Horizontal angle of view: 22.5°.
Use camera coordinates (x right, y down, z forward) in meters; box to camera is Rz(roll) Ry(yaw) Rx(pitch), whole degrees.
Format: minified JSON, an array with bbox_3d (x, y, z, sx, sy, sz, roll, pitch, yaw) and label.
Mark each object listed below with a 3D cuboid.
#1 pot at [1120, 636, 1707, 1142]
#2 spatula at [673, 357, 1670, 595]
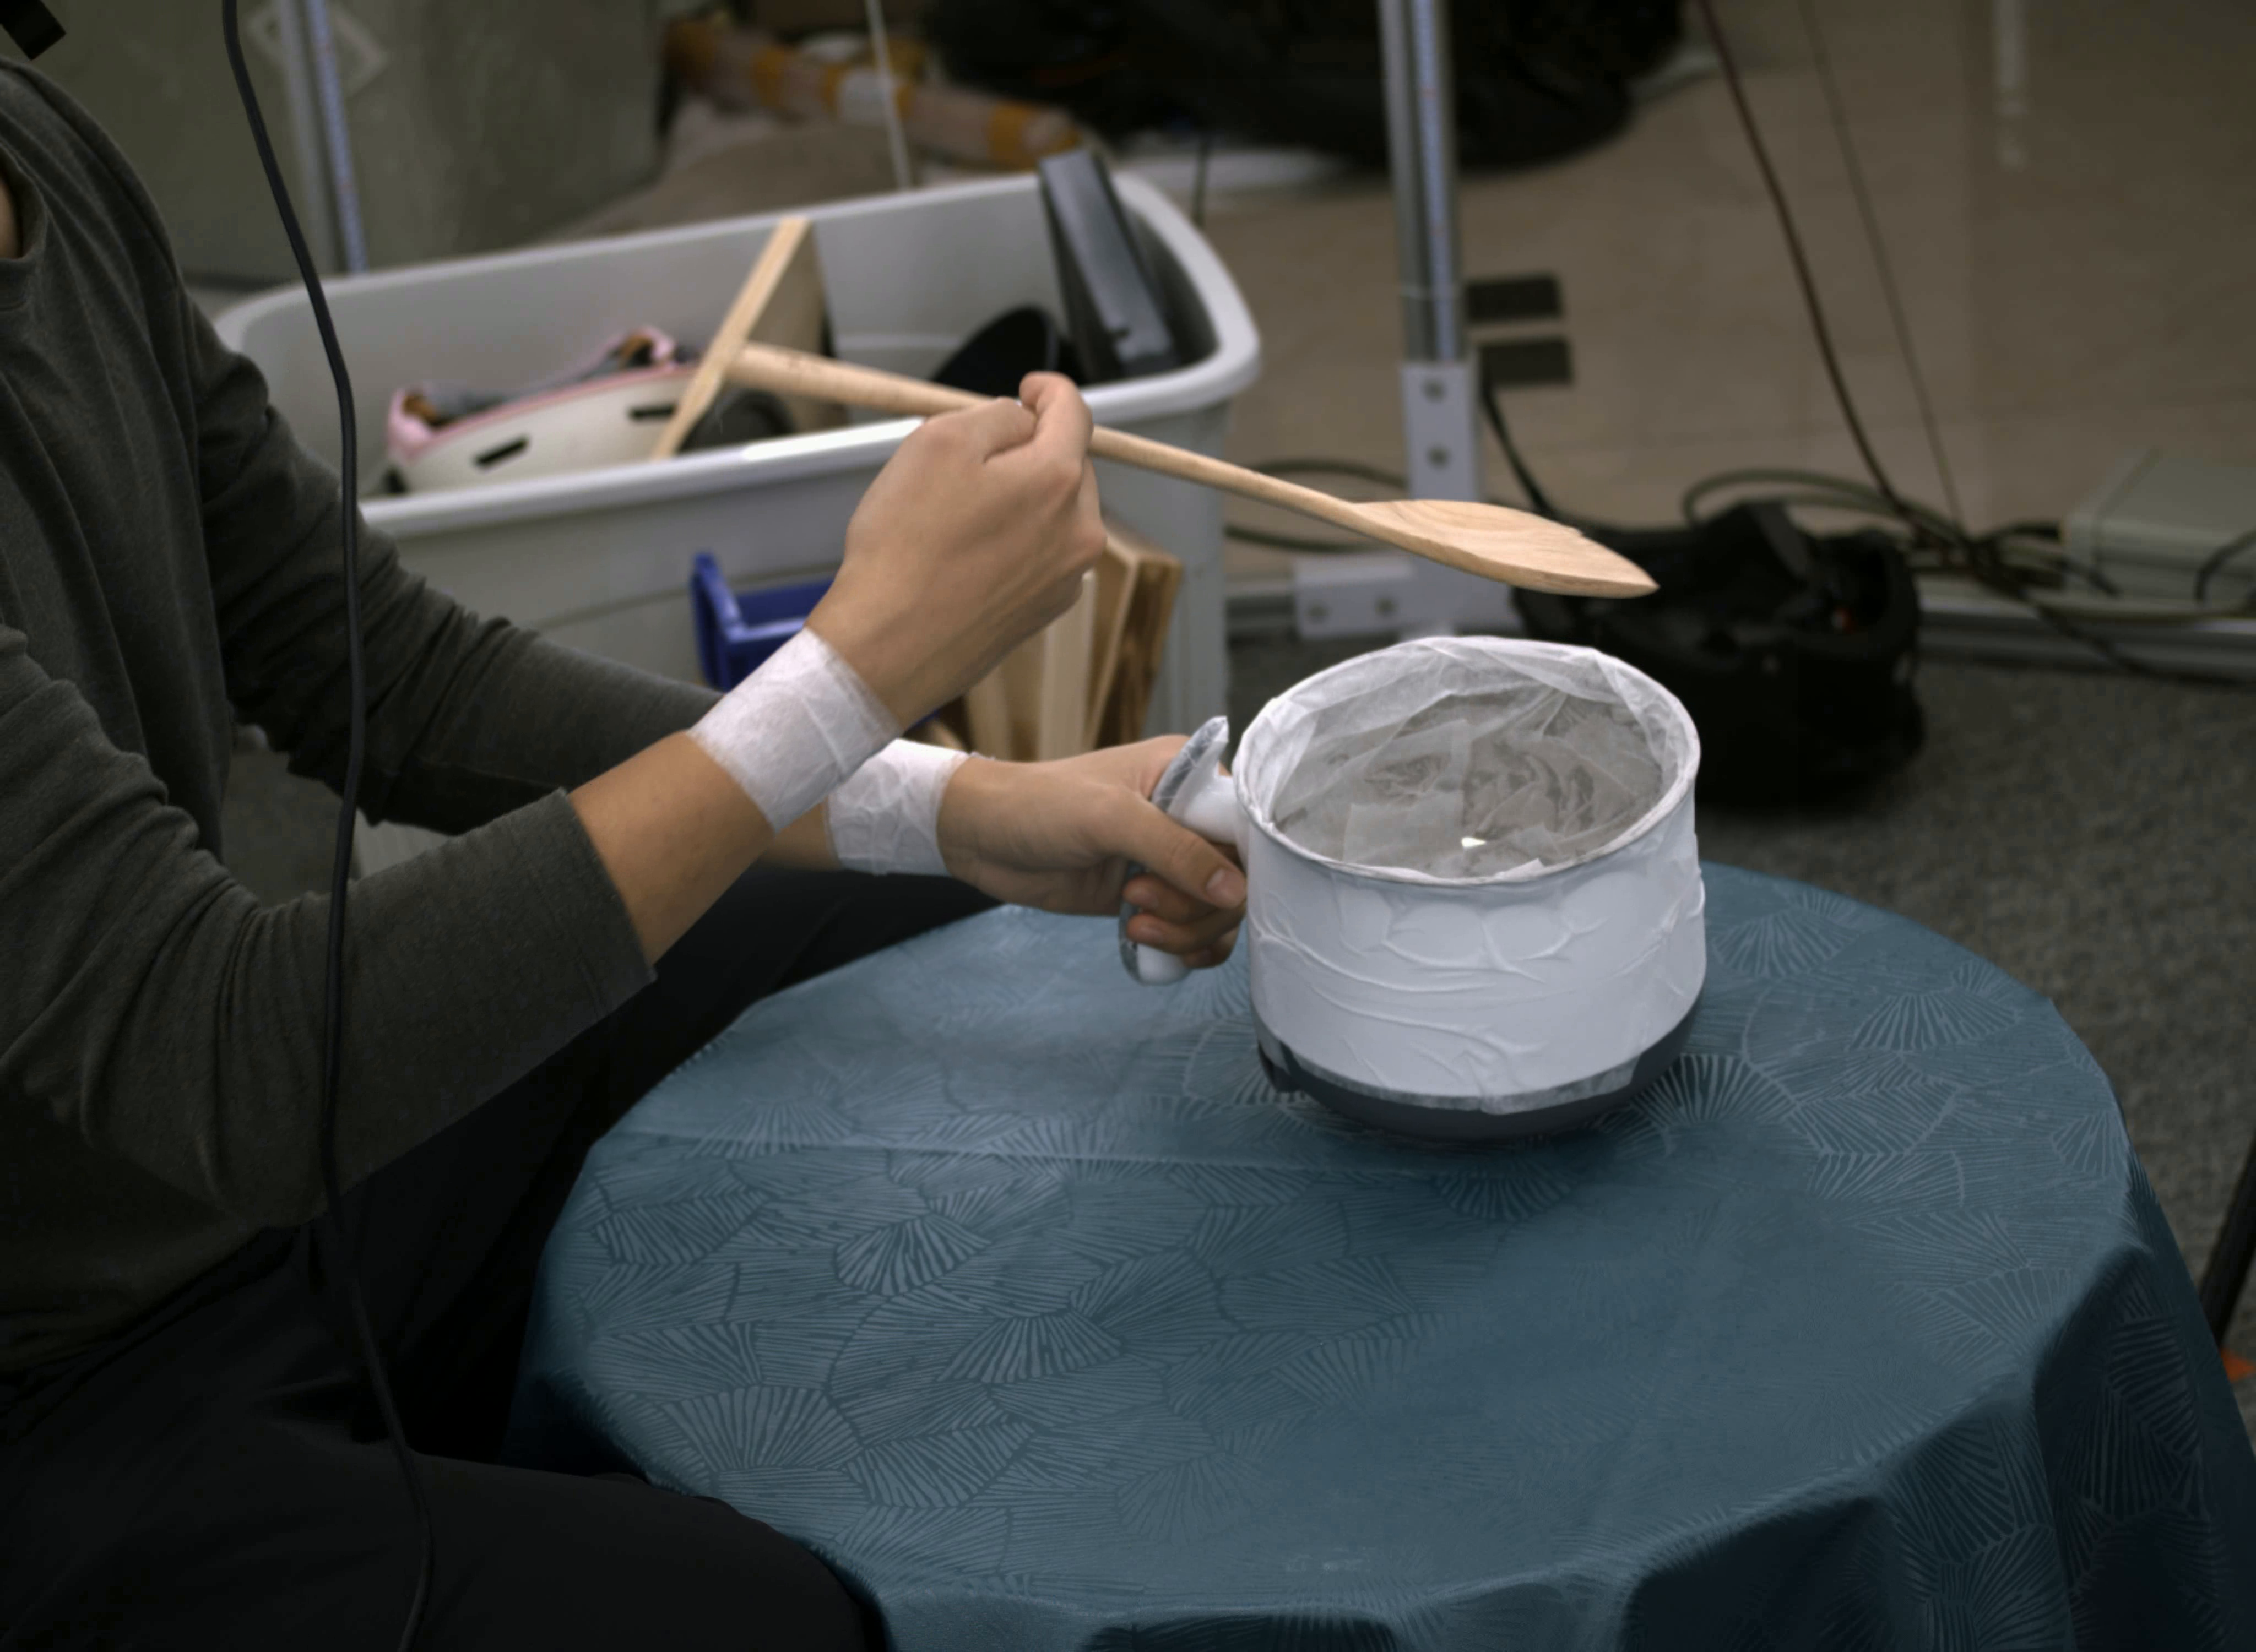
[{"bbox_3d":[0.107,0.024,2.182,0.233,0.139,0.176,6,34,17],"label":"pot"},{"bbox_3d":[0.018,-0.124,1.998,0.391,0.018,0.095,11,13,-29],"label":"spatula"}]
